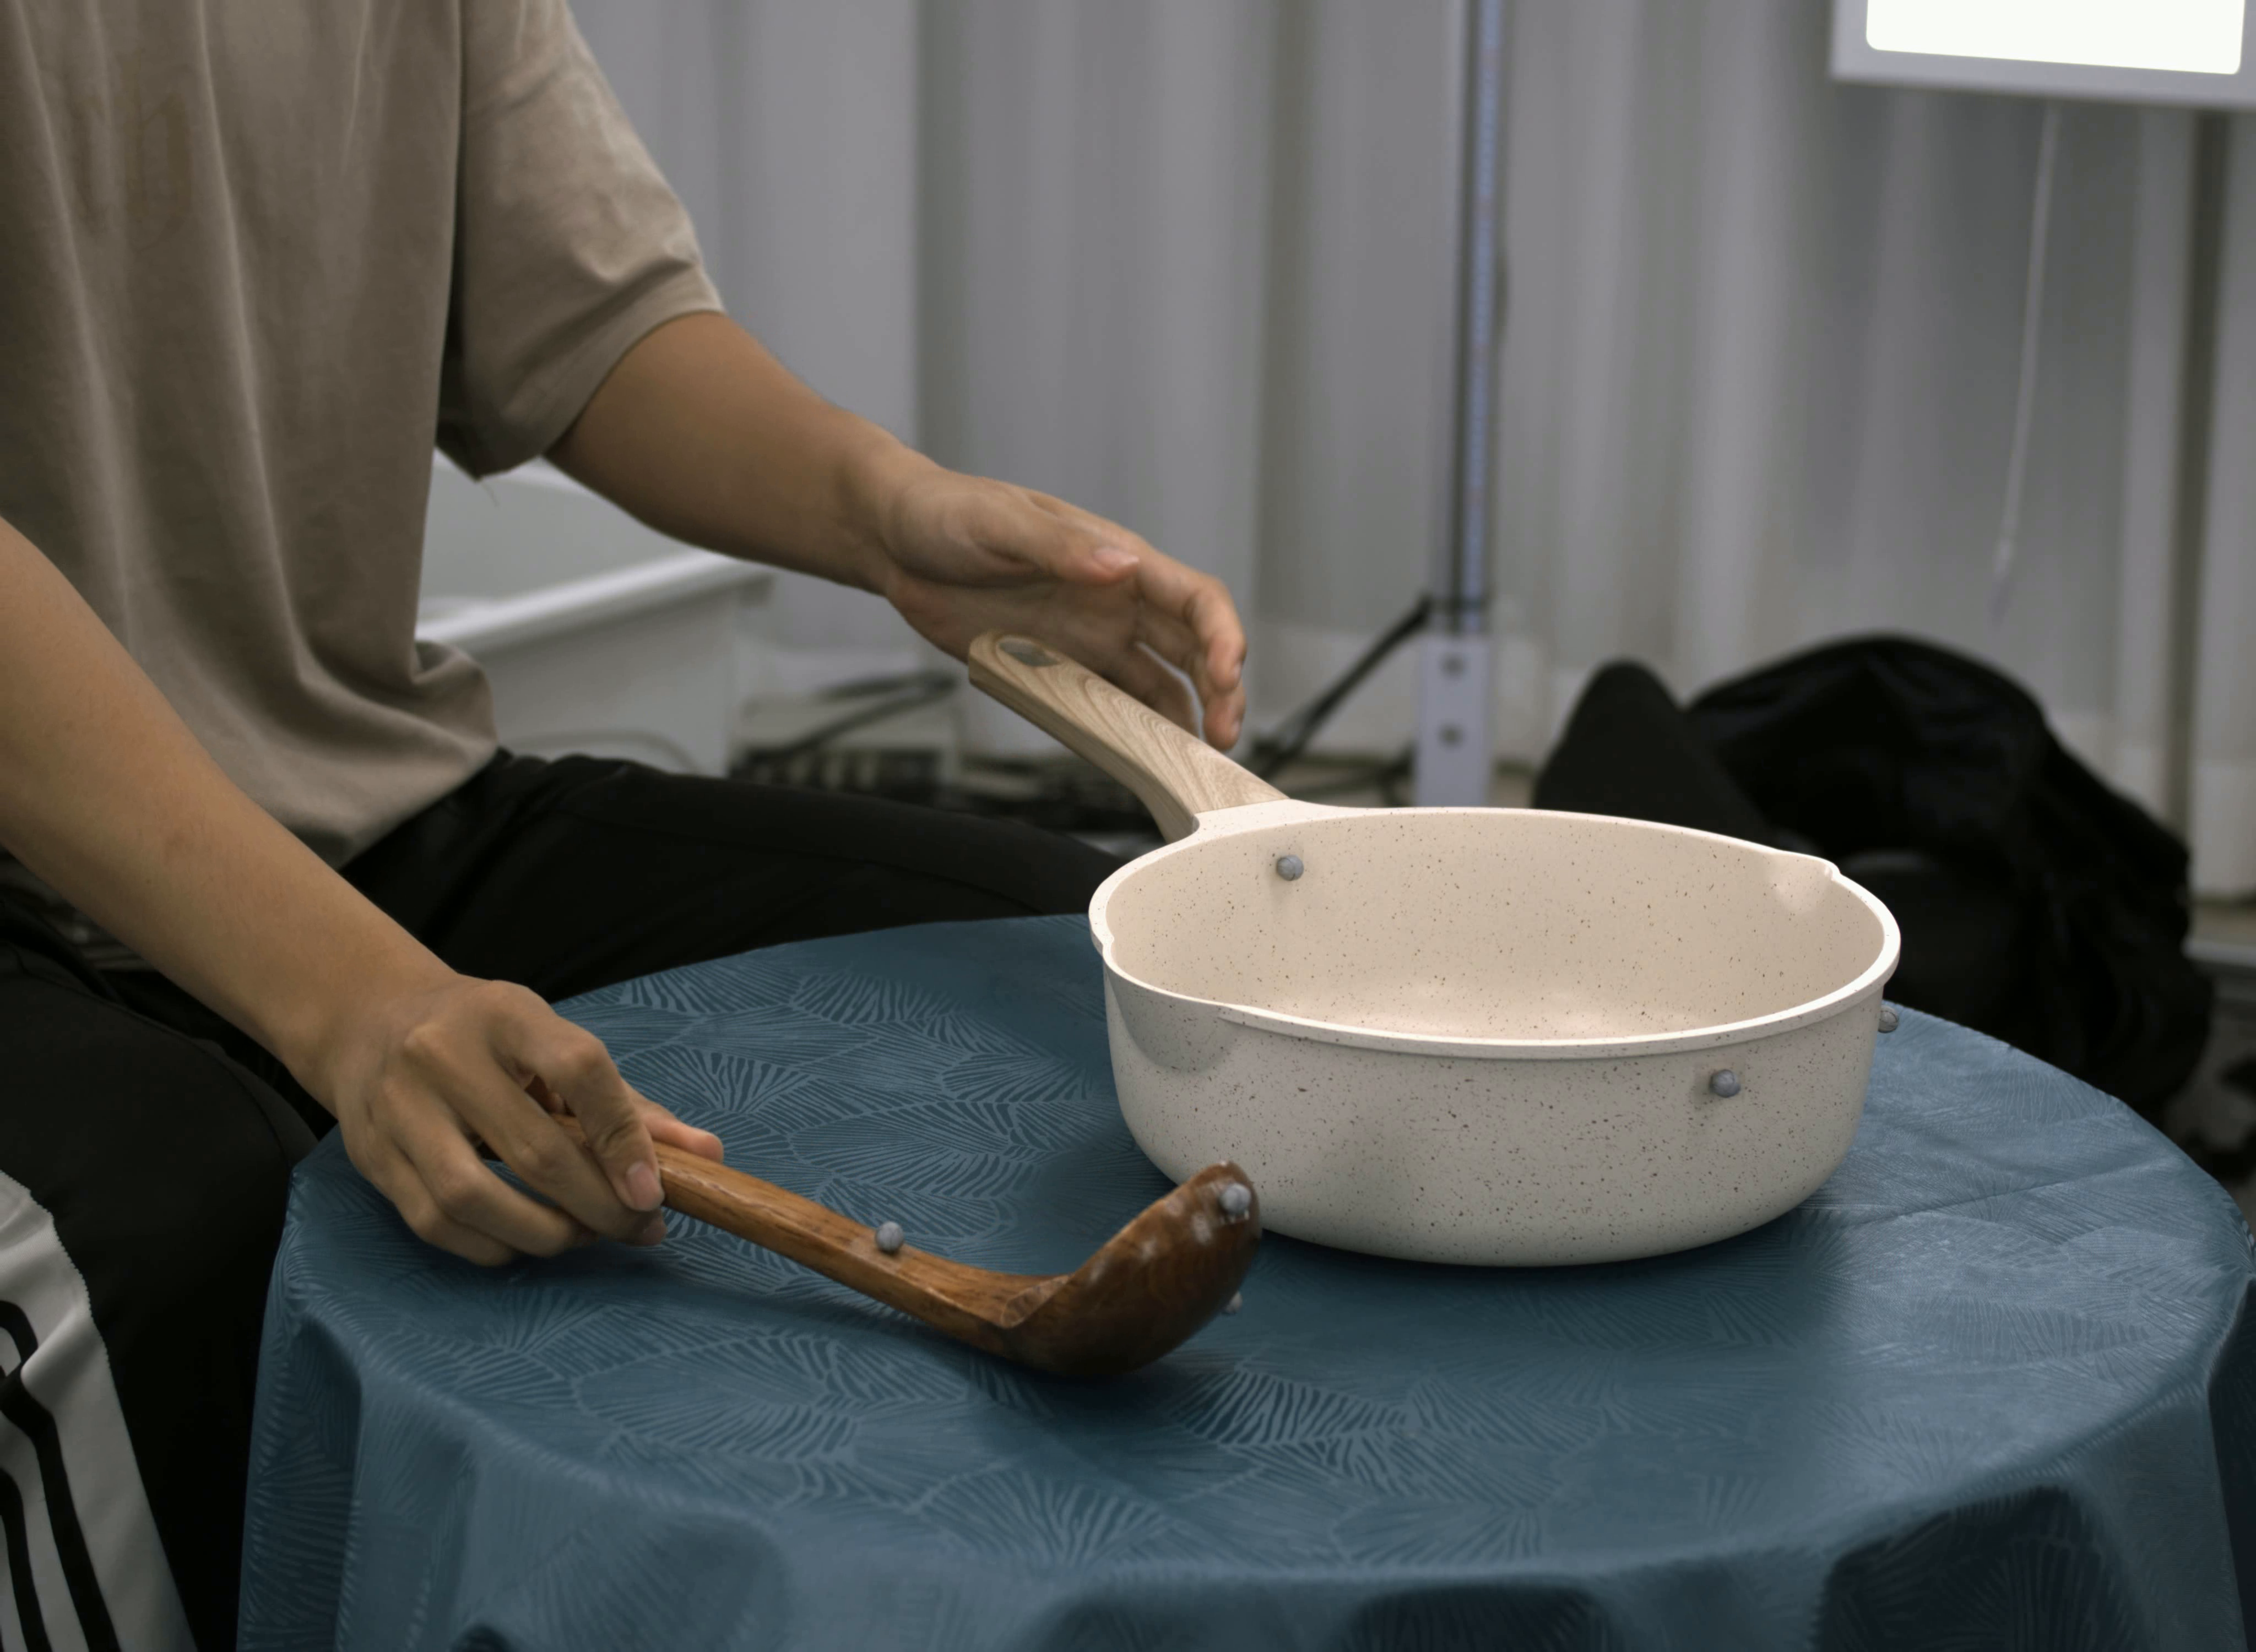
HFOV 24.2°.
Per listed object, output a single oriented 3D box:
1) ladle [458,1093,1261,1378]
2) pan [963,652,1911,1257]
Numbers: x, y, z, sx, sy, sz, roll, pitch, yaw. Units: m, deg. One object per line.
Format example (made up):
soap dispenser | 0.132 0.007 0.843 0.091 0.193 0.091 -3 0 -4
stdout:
ladle | -0.084 0.094 1.509 0.270 0.077 0.082 19 20 30
pan | 0.068 0.036 1.717 0.264 0.103 0.429 -11 19 -31
